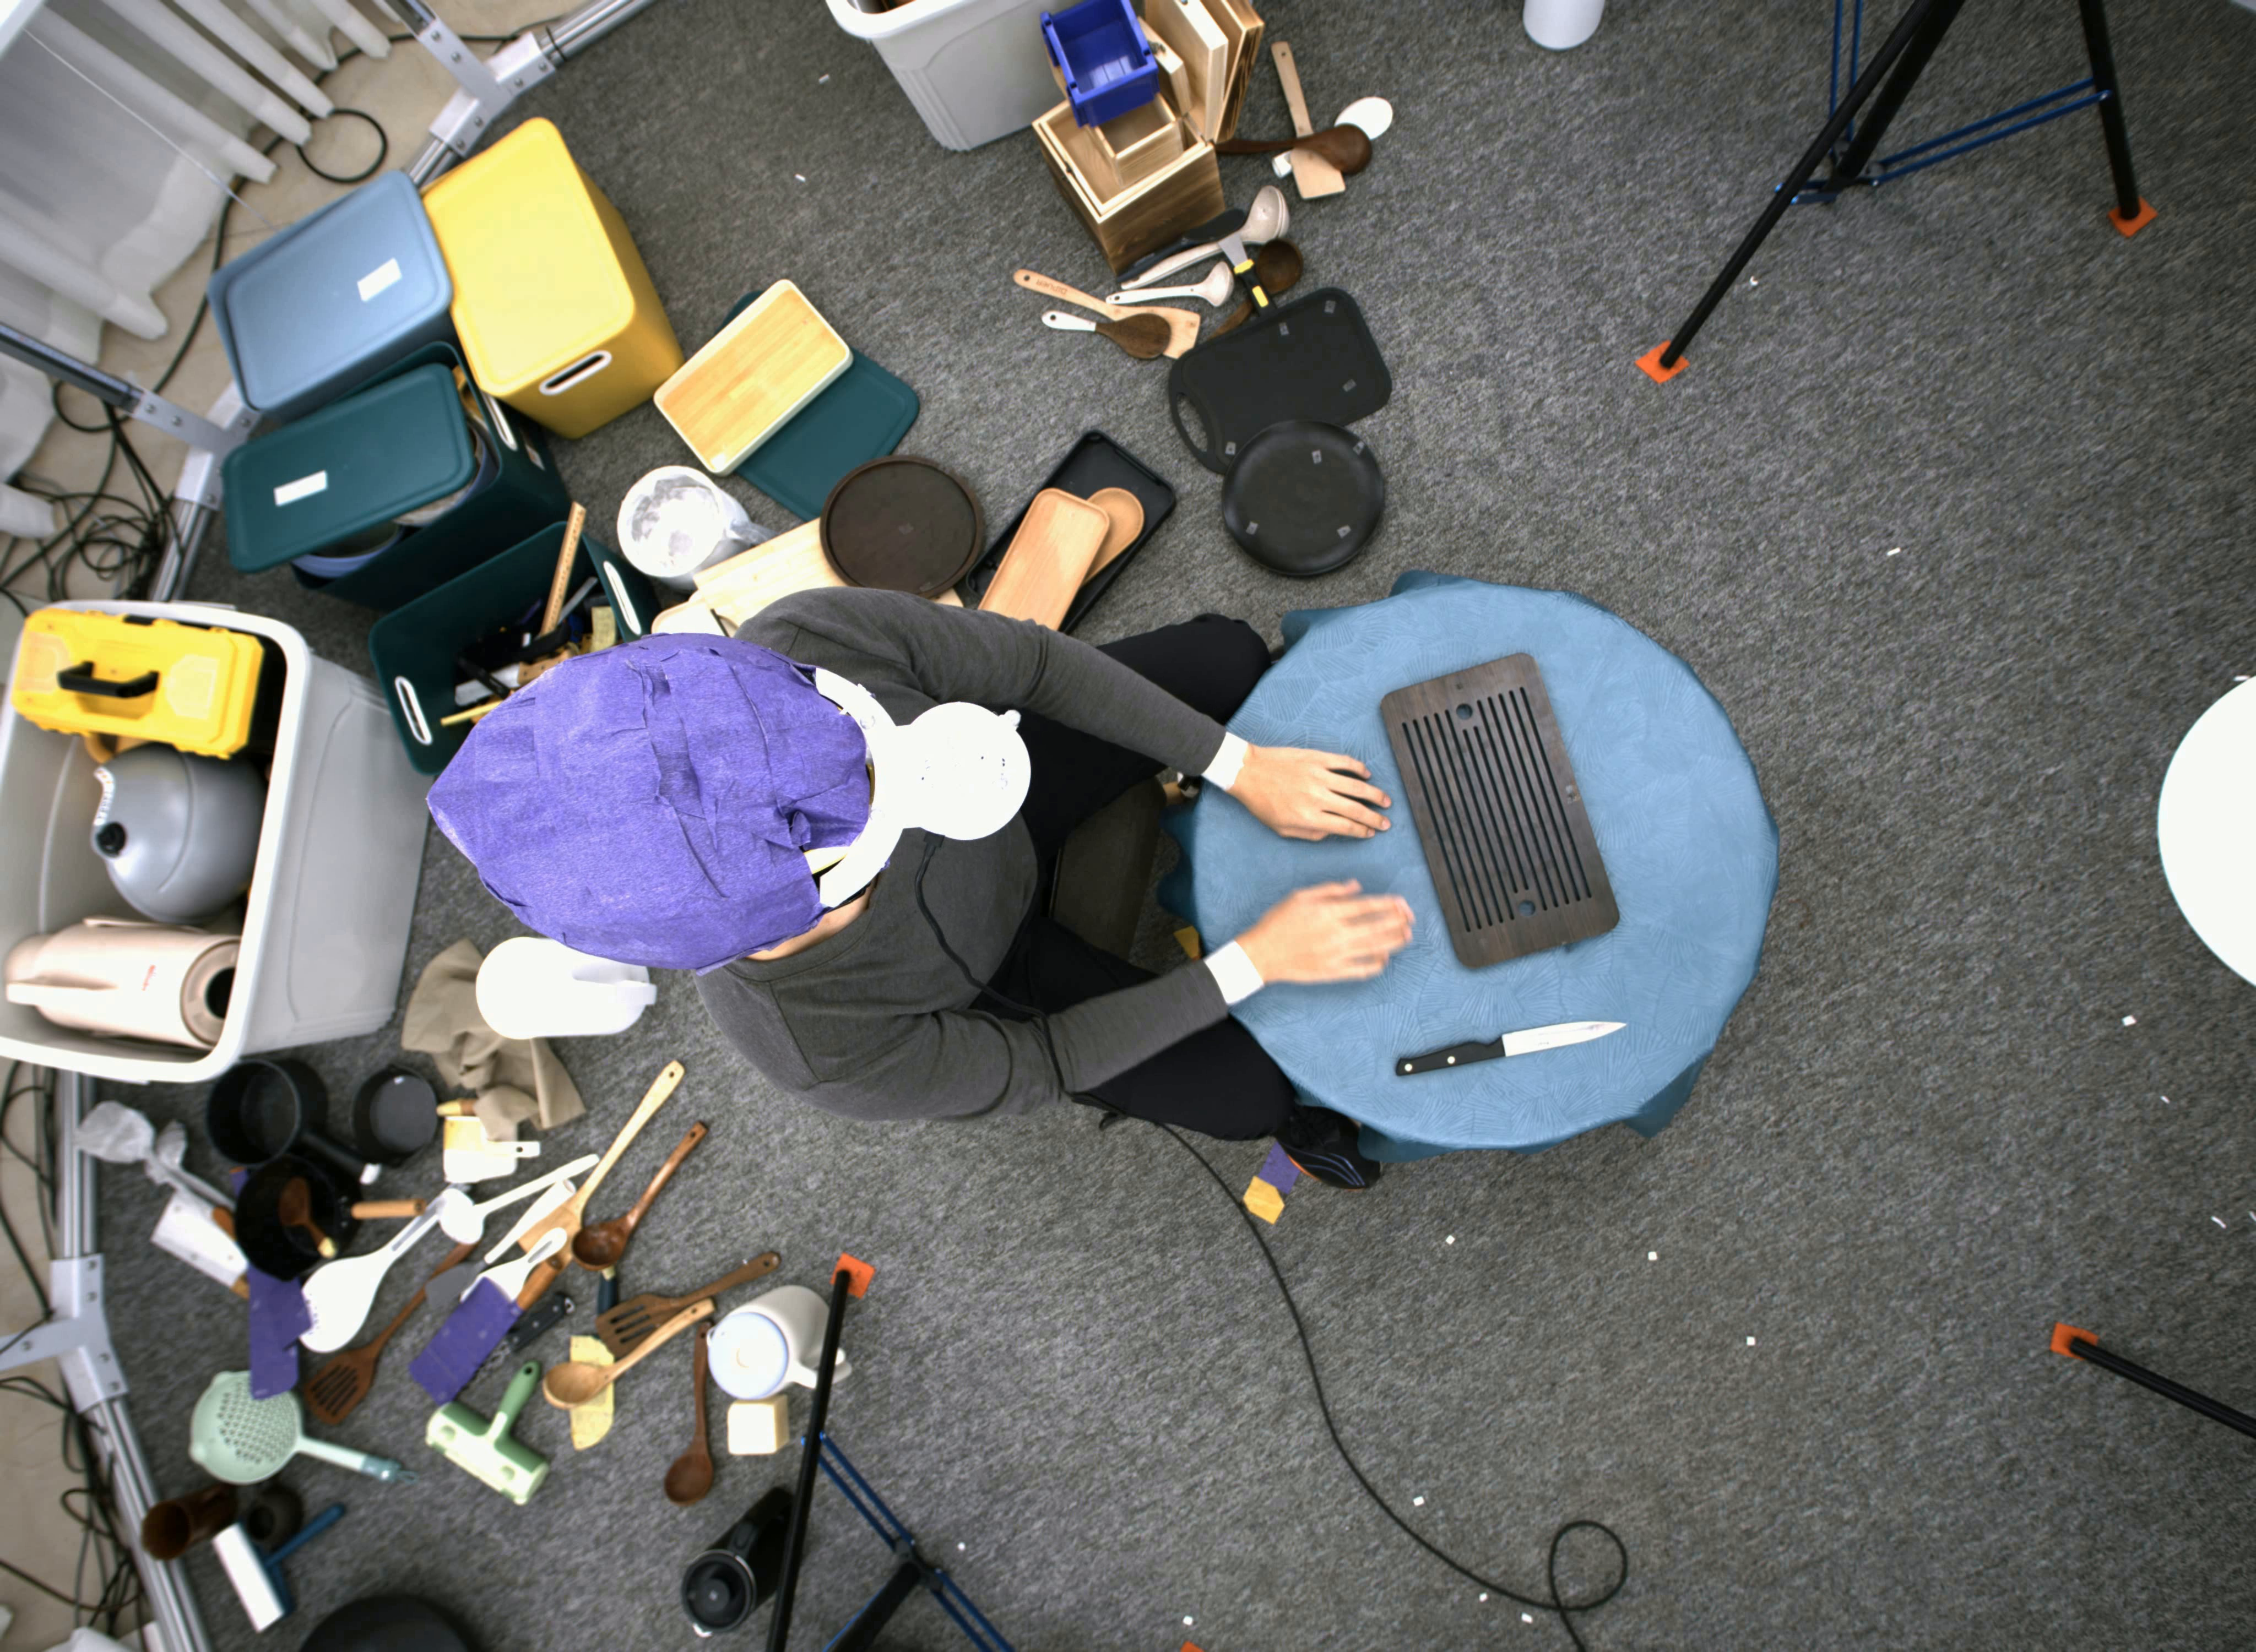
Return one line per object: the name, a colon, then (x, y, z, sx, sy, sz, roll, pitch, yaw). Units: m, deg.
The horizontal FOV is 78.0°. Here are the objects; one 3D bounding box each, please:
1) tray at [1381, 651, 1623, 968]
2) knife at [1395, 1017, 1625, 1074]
tray: (0.388, -0.020, 1.434, 0.171, 0.018, 0.304, -17, 84, 10)
knife: (0.395, 0.224, 1.422, 0.239, 0.016, 0.024, -13, 85, 7)
